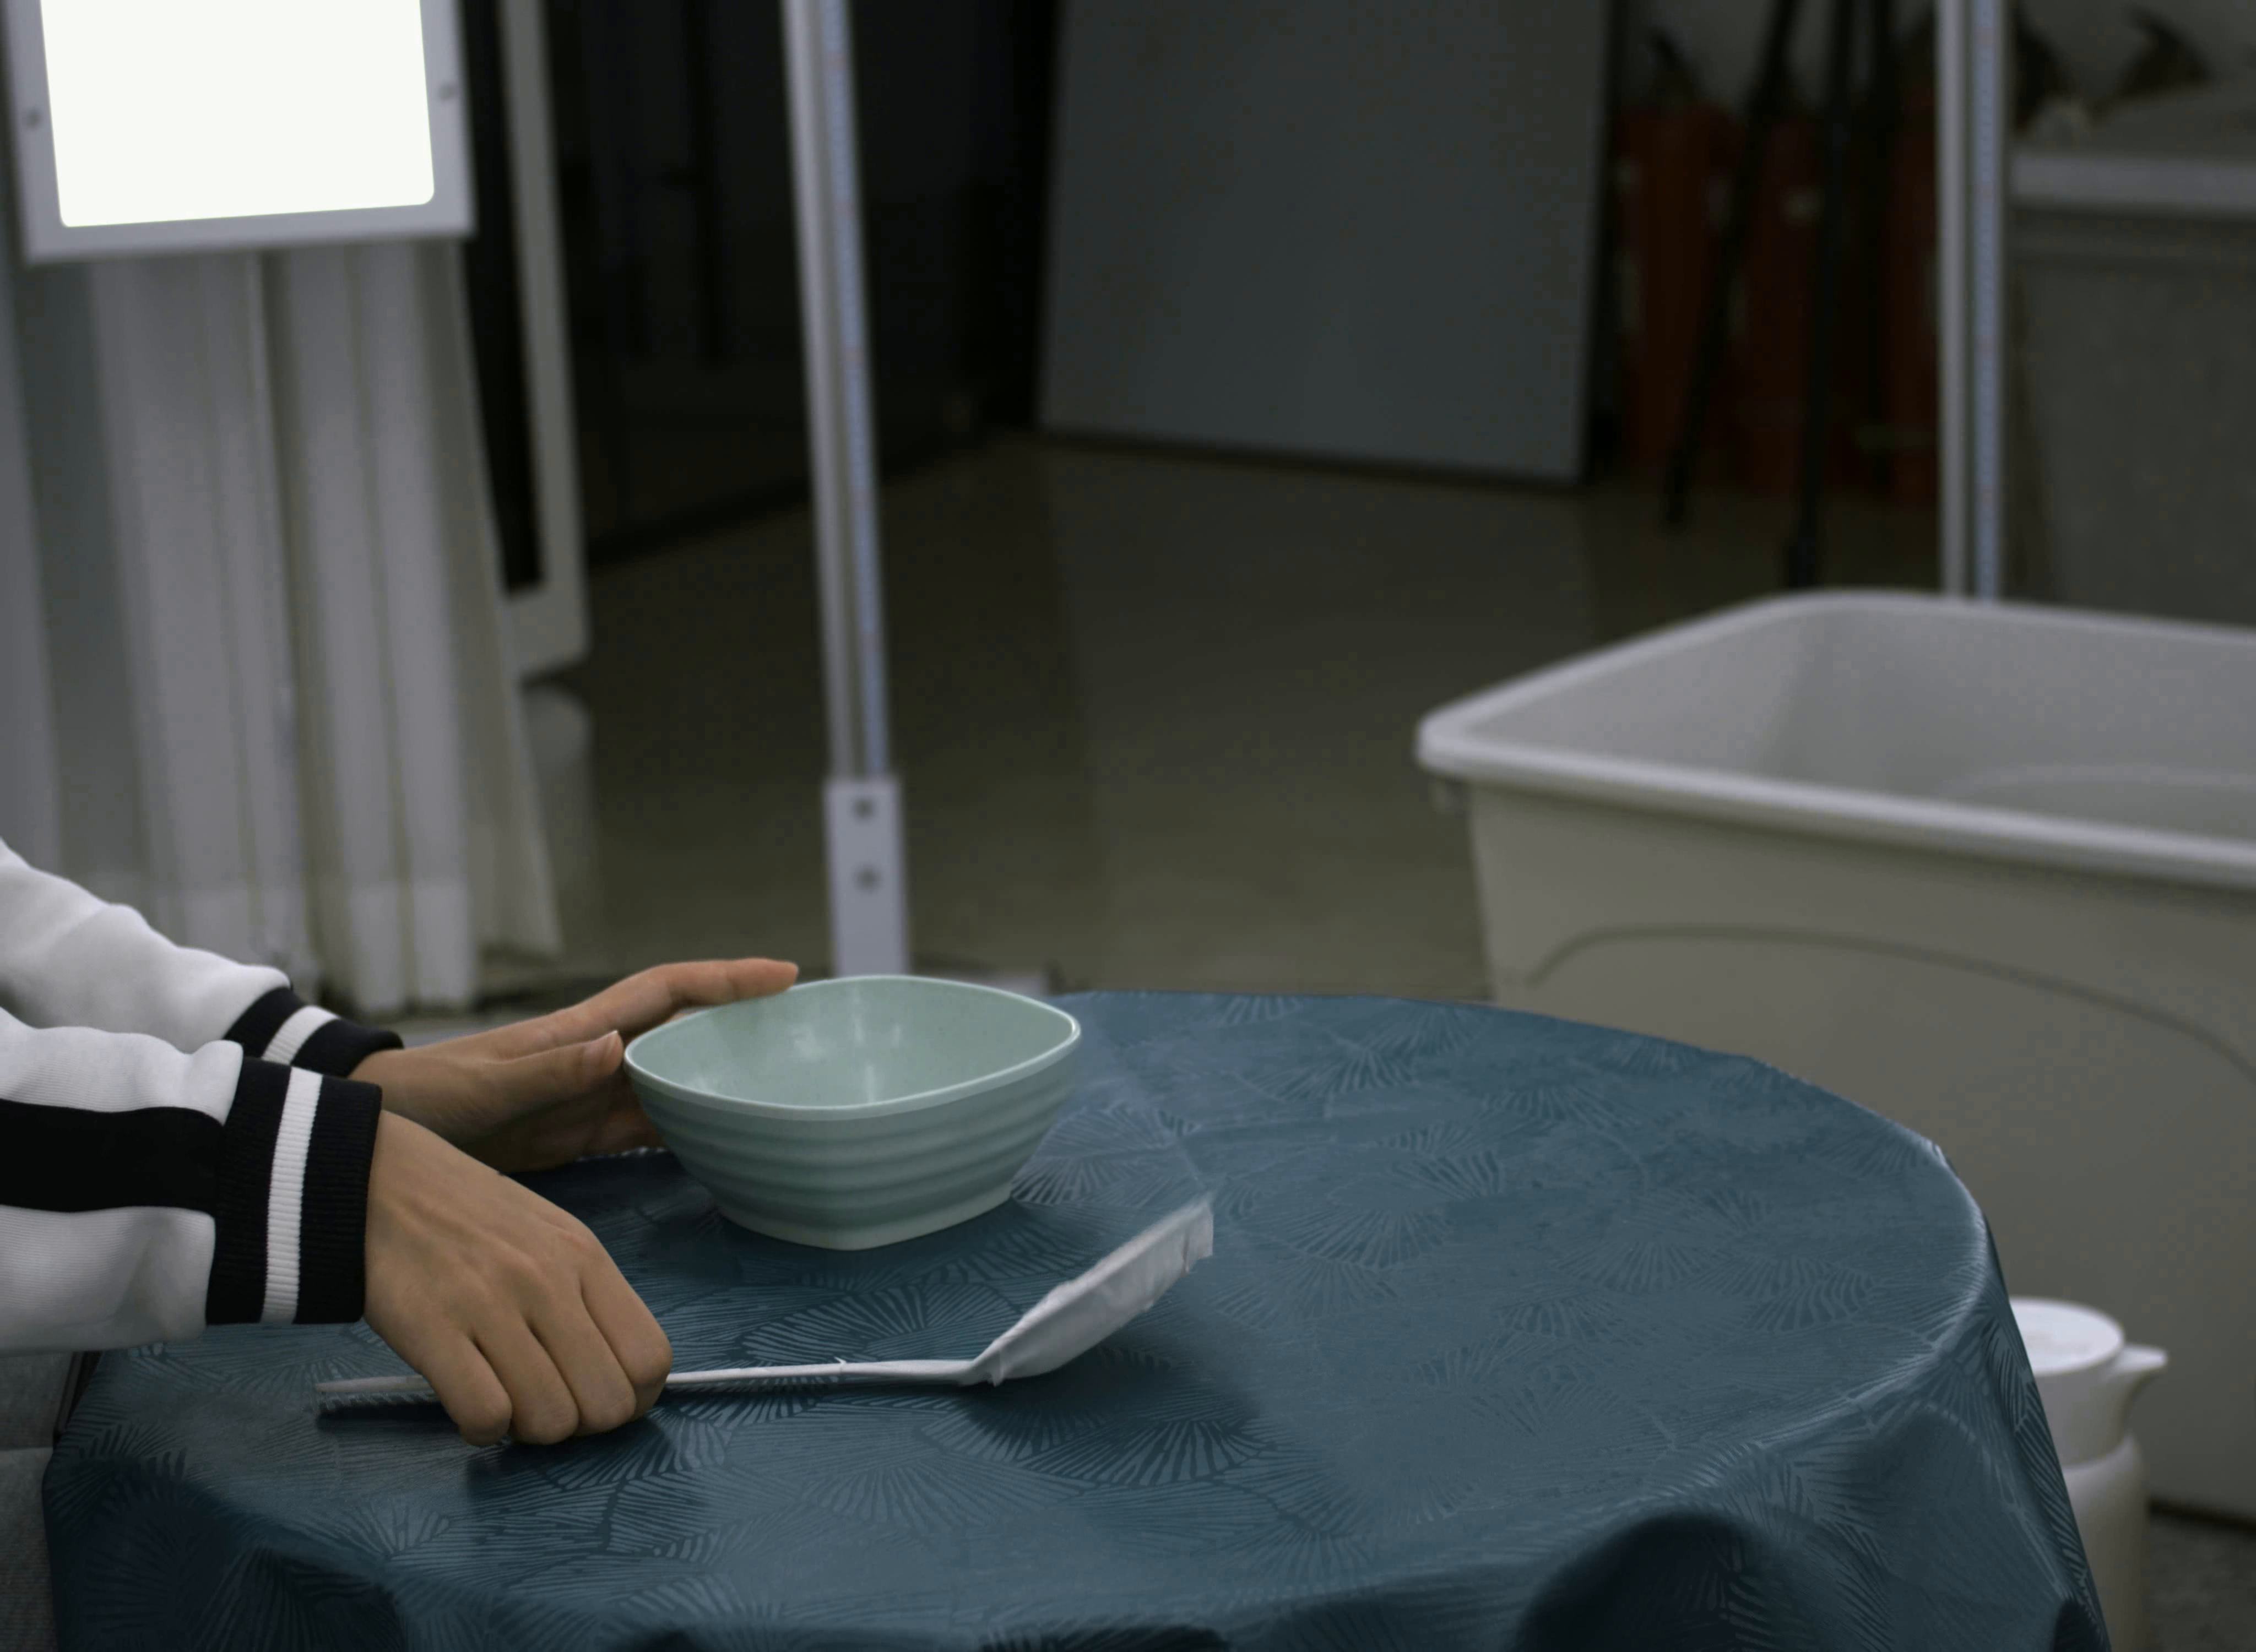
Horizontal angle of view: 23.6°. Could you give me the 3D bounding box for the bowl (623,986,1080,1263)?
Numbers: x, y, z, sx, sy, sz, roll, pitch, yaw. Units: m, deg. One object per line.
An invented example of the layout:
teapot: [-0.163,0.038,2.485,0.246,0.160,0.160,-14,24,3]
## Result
bowl: [-0.089,0.100,1.769,0.149,0.059,0.152,-4,13,0]

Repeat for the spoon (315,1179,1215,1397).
spoon: [-0.109,0.138,1.613,0.275,0.060,0.100,-2,-1,9]
